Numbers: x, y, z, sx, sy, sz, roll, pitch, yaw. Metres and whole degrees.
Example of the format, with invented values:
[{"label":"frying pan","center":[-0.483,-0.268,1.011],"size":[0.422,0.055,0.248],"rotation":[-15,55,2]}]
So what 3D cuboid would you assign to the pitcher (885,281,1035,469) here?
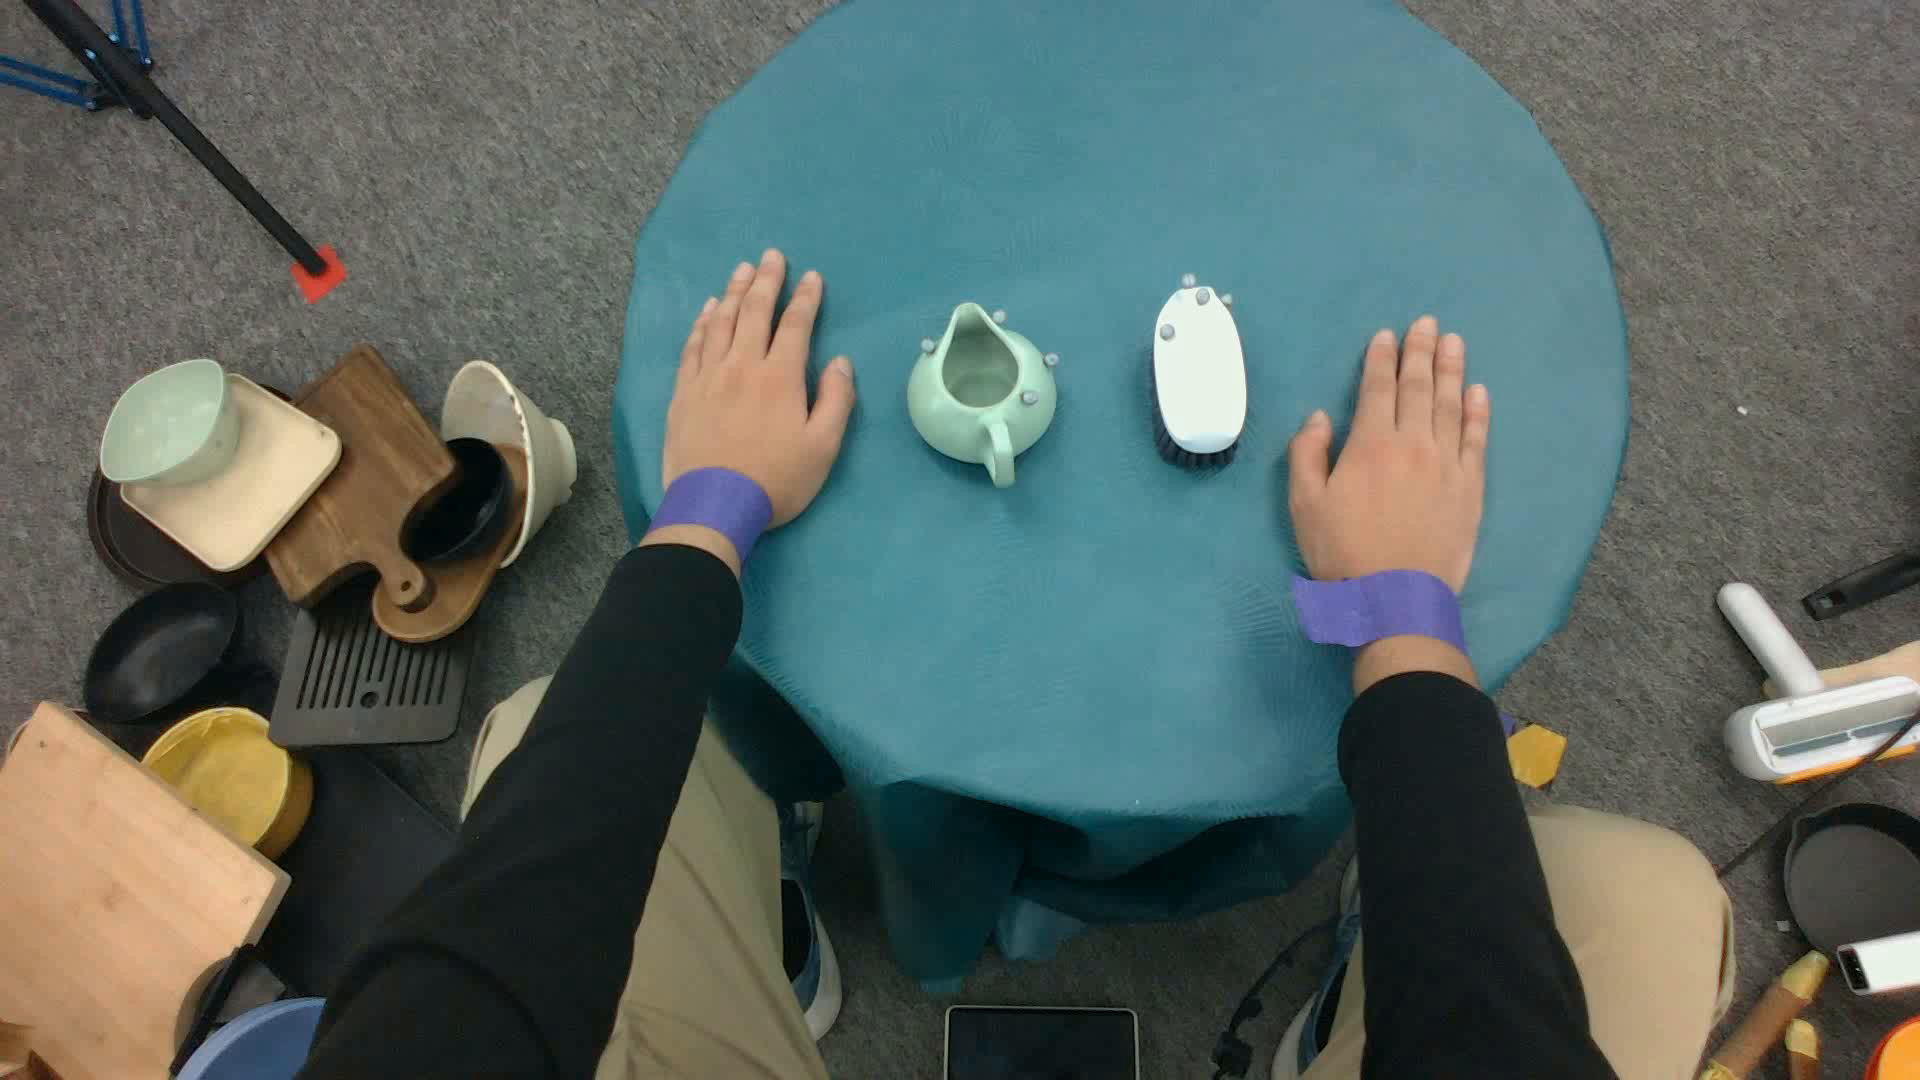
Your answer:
[{"label":"pitcher","center":[0.003,-0.088,0.782],"size":[0.086,0.060,0.108],"rotation":[-15,72,-4]}]

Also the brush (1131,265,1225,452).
[{"label":"brush","center":[0.124,-0.108,0.775],"size":[0.050,0.072,0.099],"rotation":[-2,68,3]}]
